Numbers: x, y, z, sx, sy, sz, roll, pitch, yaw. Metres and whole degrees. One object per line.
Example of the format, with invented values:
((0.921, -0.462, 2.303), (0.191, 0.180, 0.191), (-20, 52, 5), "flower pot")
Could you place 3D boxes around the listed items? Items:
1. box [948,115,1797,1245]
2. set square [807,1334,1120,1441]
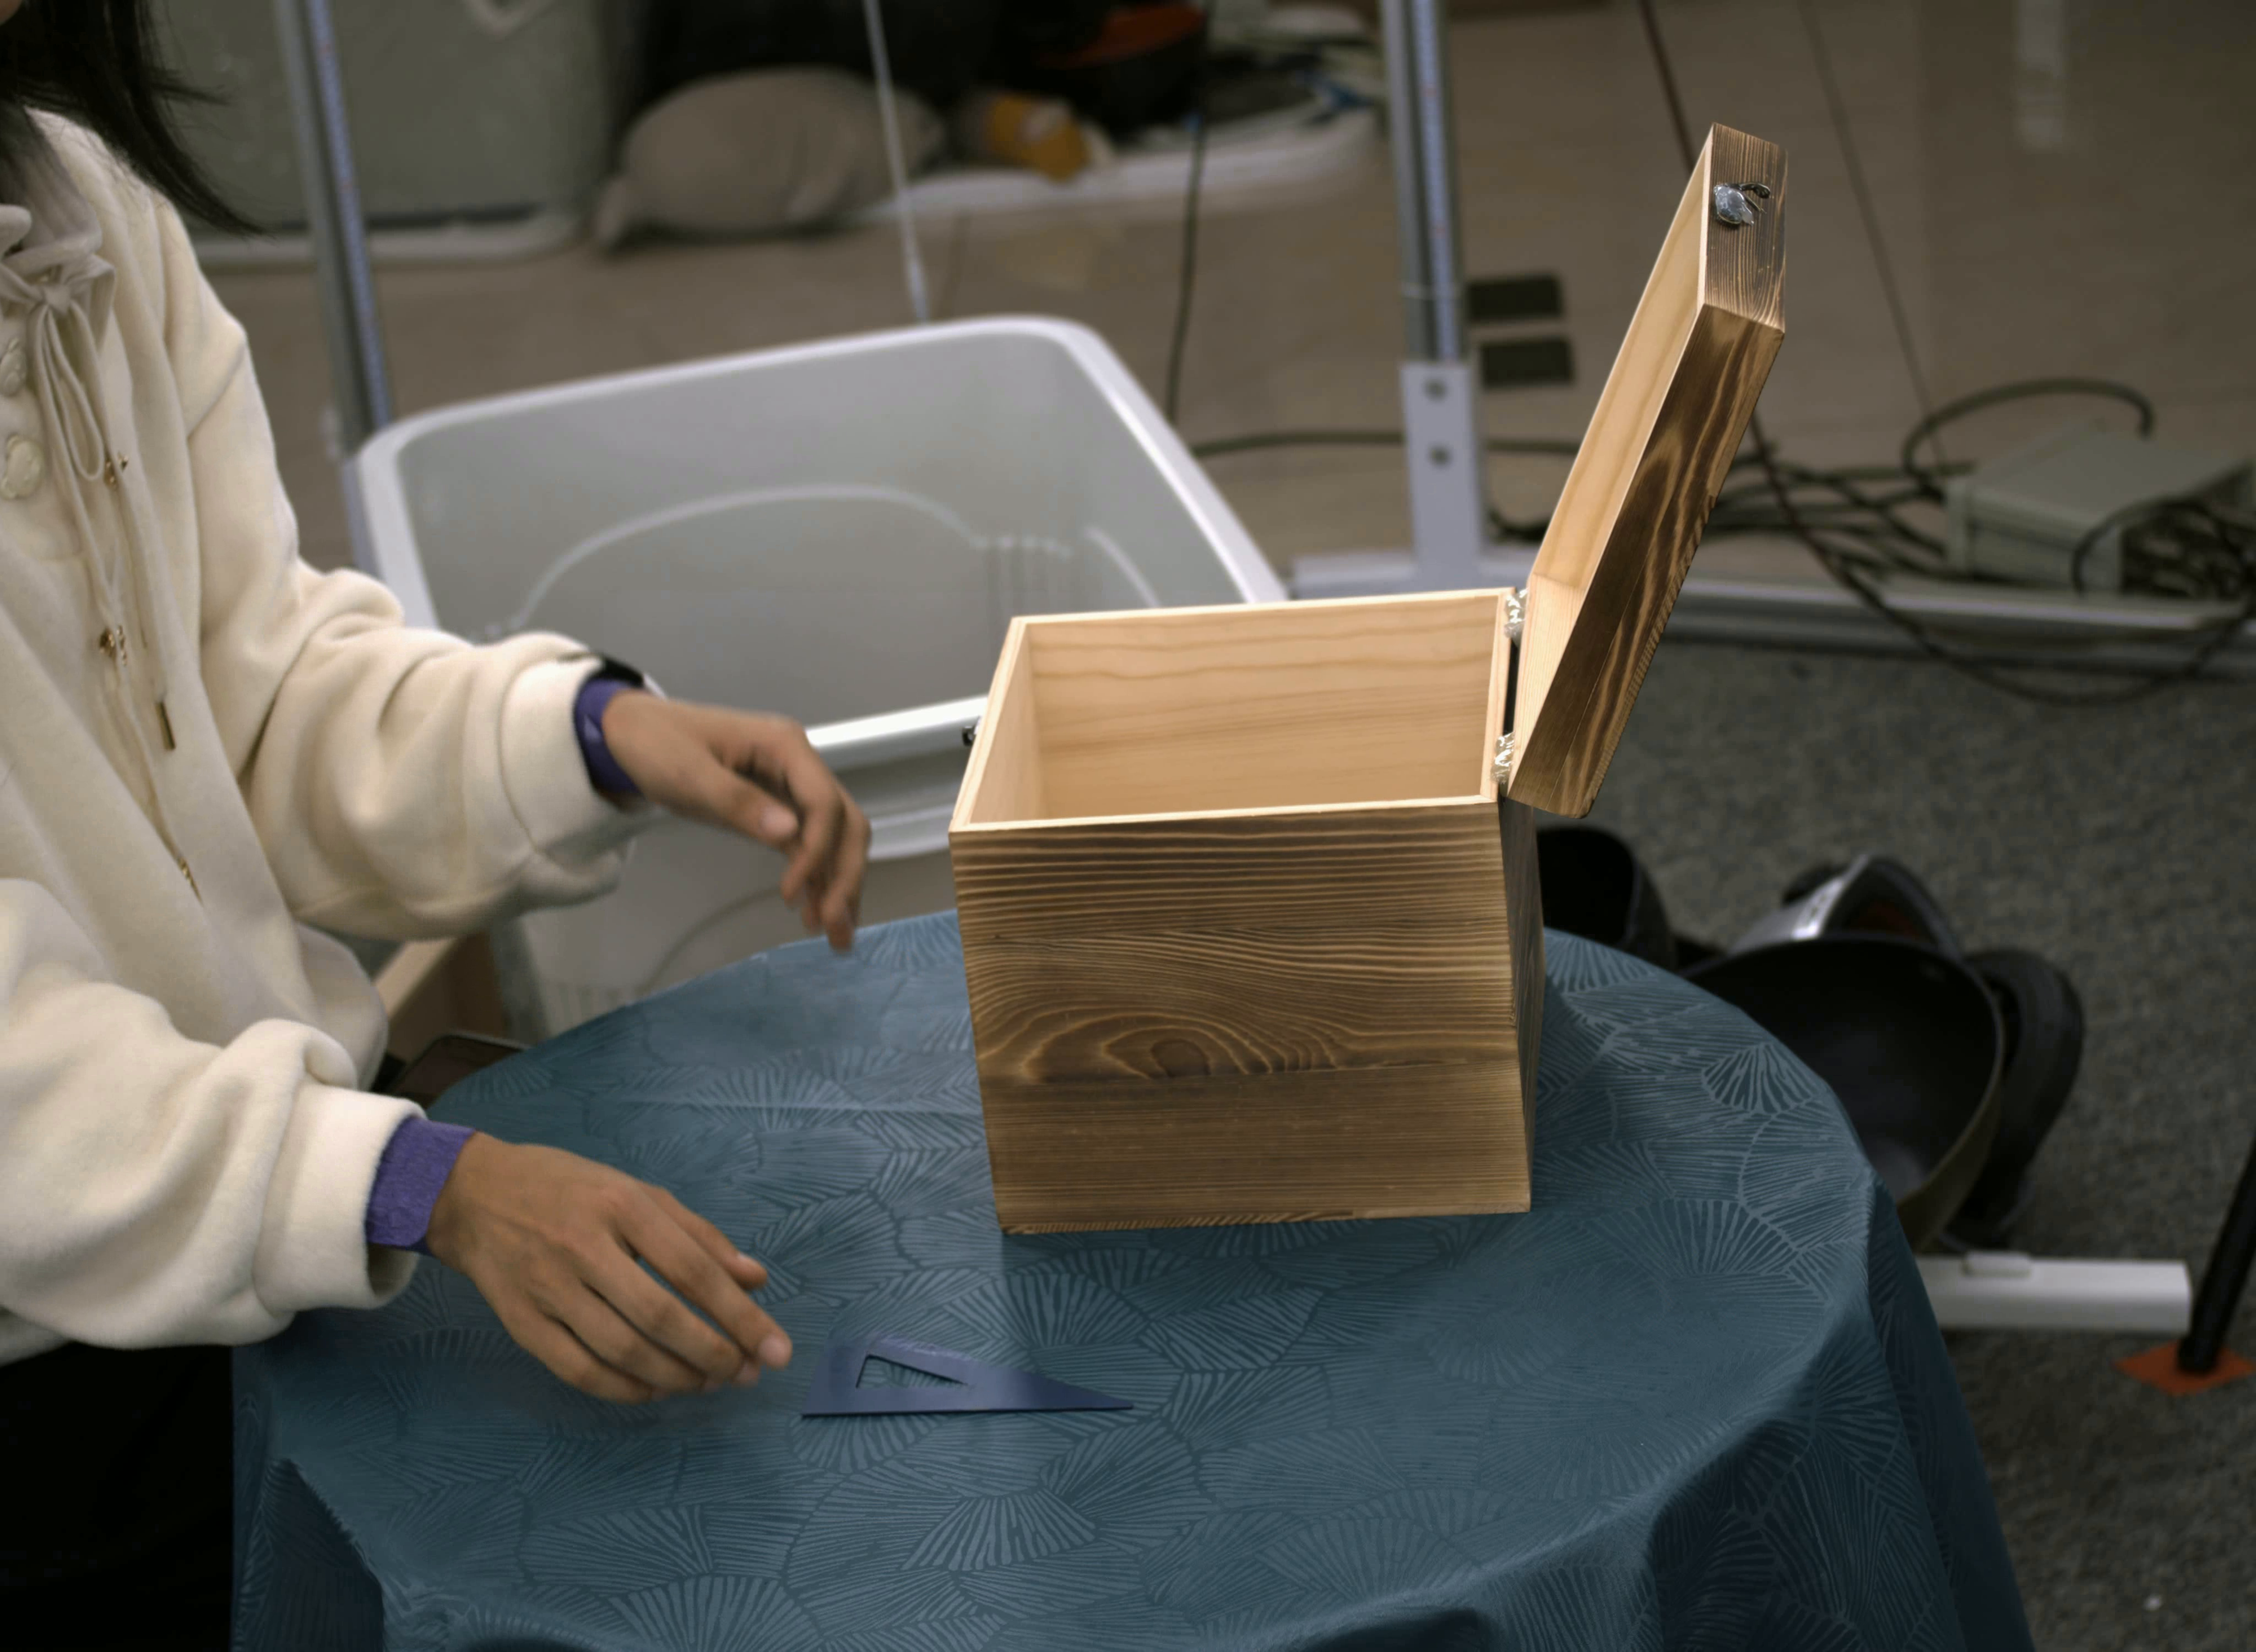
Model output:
((0.094, -0.058, 2.119), (0.321, 0.381, 0.206), (-2, 25, 7), "box")
((-0.067, 0.207, 2.013), (0.131, 0.006, 0.060), (15, 30, 39), "set square")
